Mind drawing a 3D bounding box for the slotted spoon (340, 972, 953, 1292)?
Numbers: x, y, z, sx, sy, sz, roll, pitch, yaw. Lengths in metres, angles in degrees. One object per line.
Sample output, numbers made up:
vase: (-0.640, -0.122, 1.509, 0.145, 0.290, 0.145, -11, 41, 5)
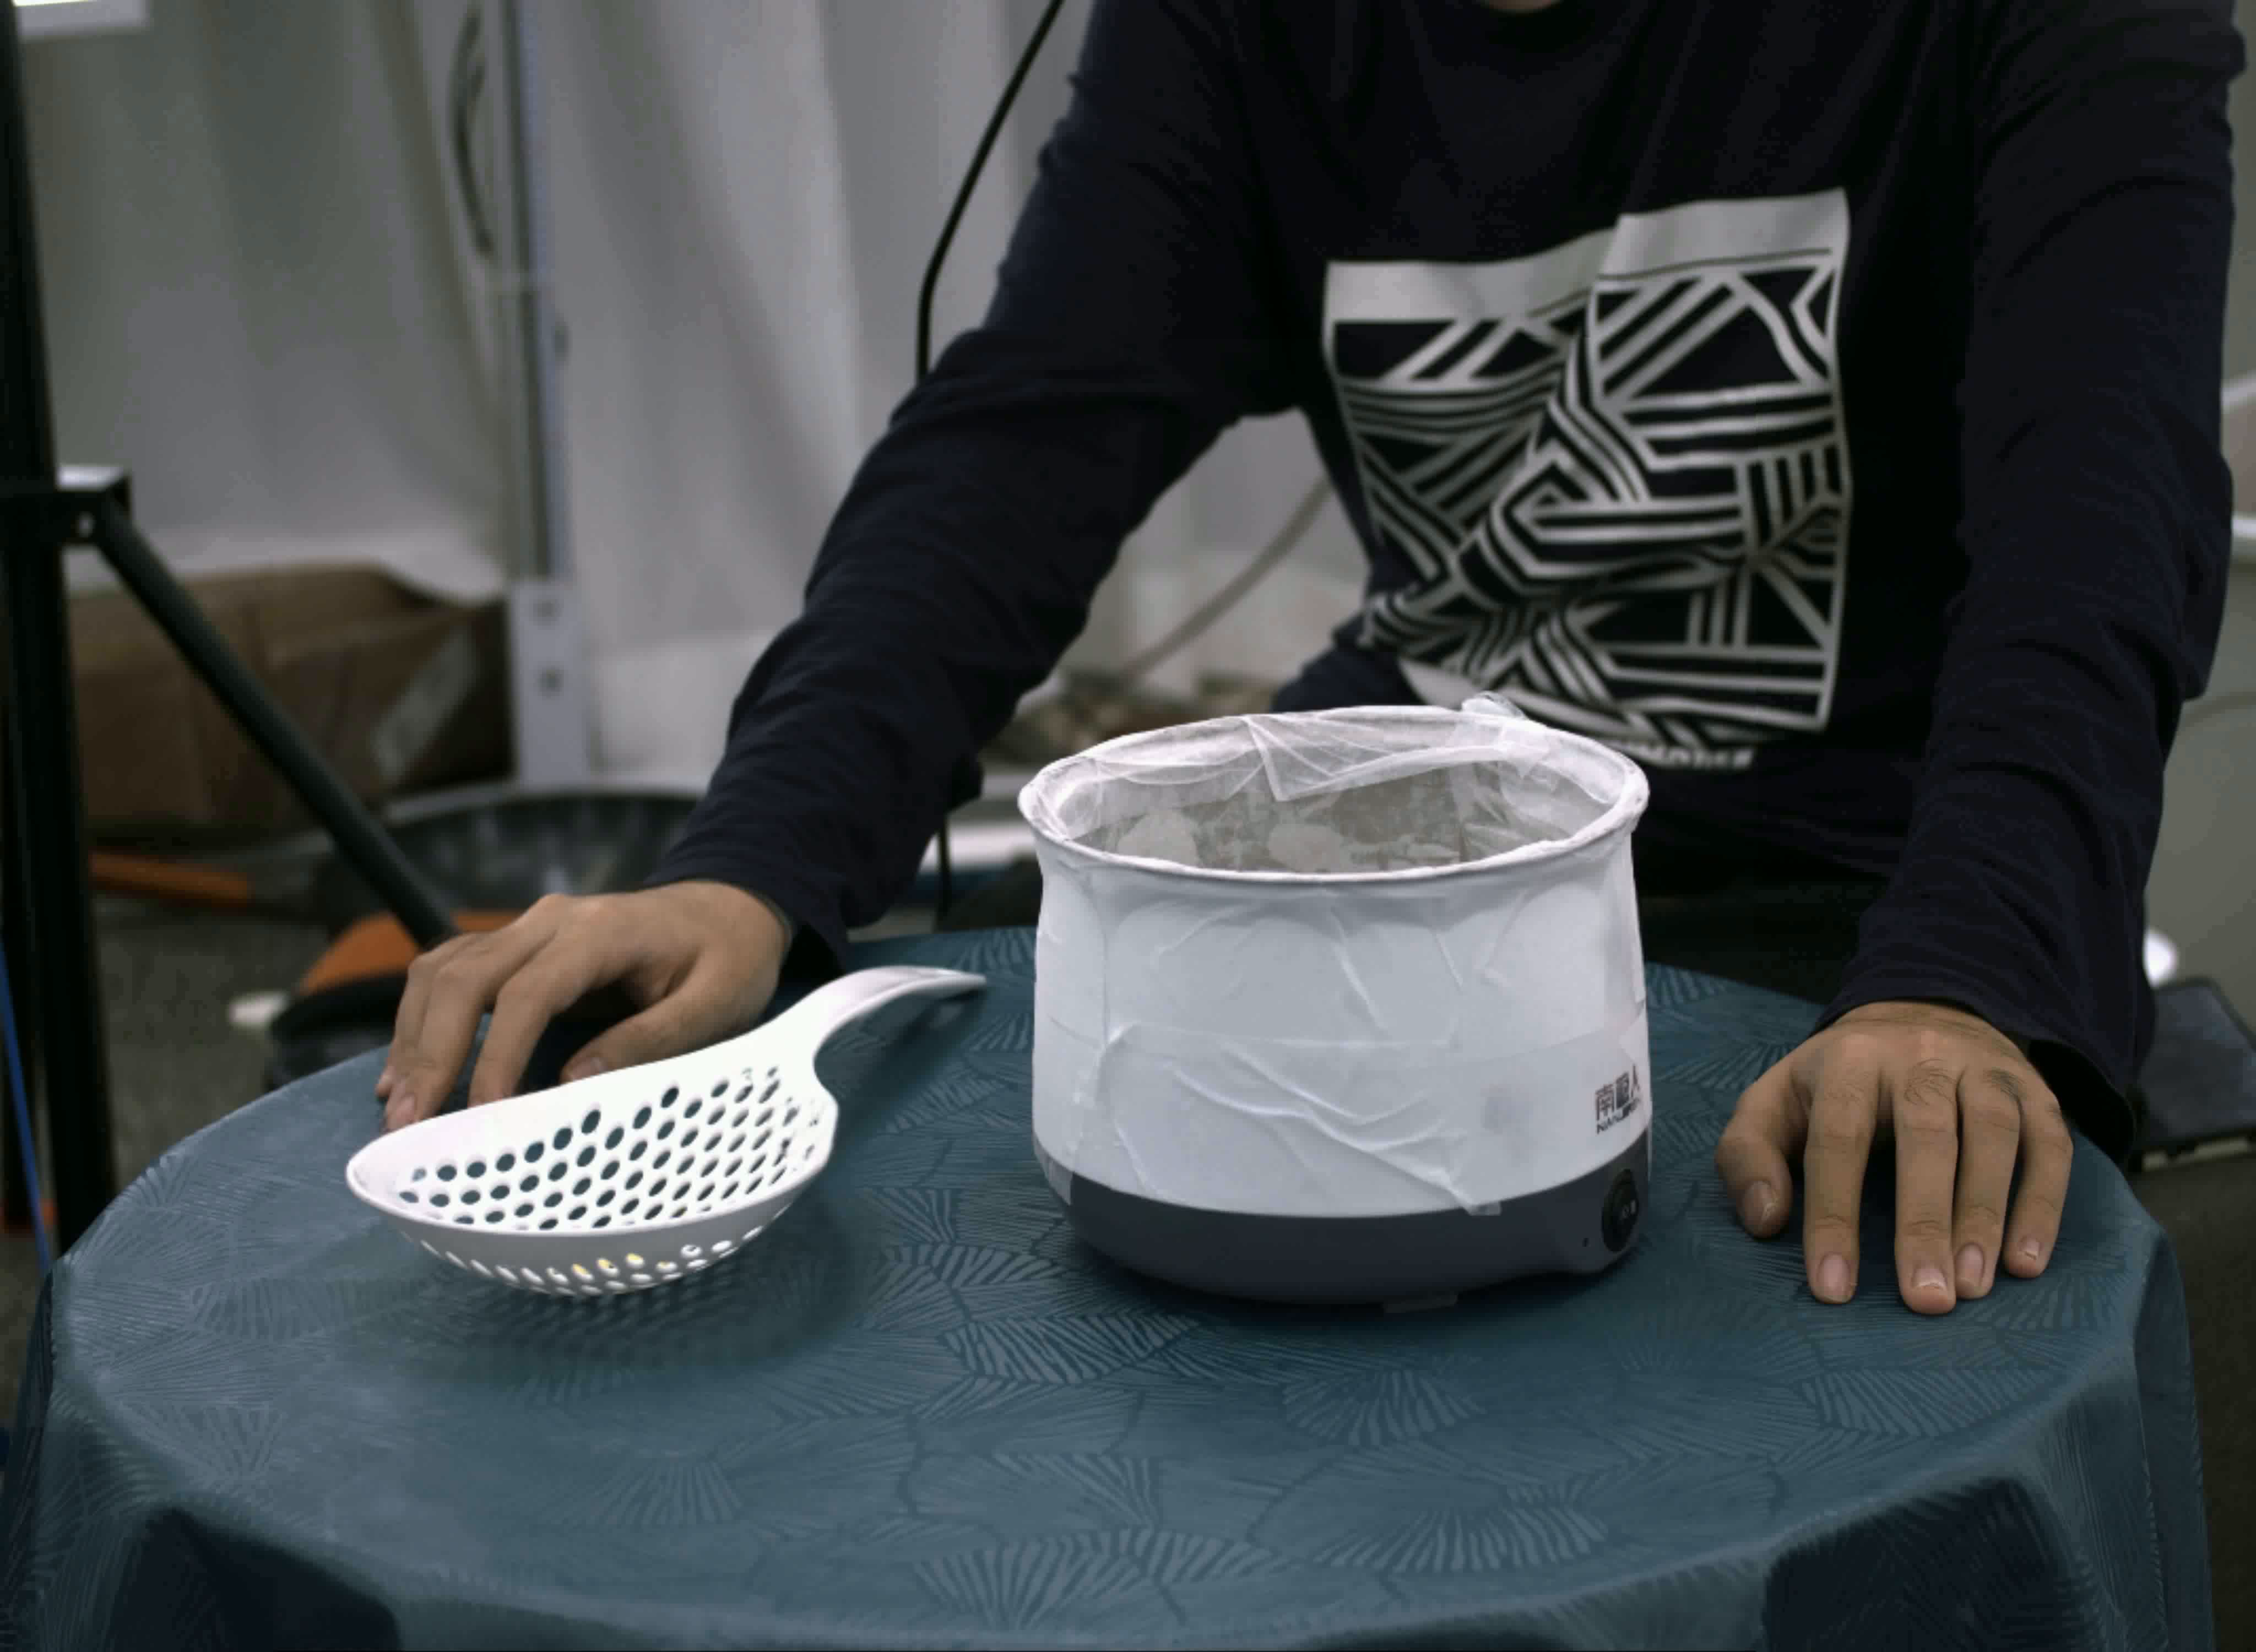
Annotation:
slotted spoon: (-0.114, 0.079, 1.603, 0.138, 0.050, 0.344, 2, 17, 20)

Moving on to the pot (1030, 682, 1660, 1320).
pot: (0.073, 0.042, 1.527, 0.182, 0.136, 0.230, 9, 20, 27)
